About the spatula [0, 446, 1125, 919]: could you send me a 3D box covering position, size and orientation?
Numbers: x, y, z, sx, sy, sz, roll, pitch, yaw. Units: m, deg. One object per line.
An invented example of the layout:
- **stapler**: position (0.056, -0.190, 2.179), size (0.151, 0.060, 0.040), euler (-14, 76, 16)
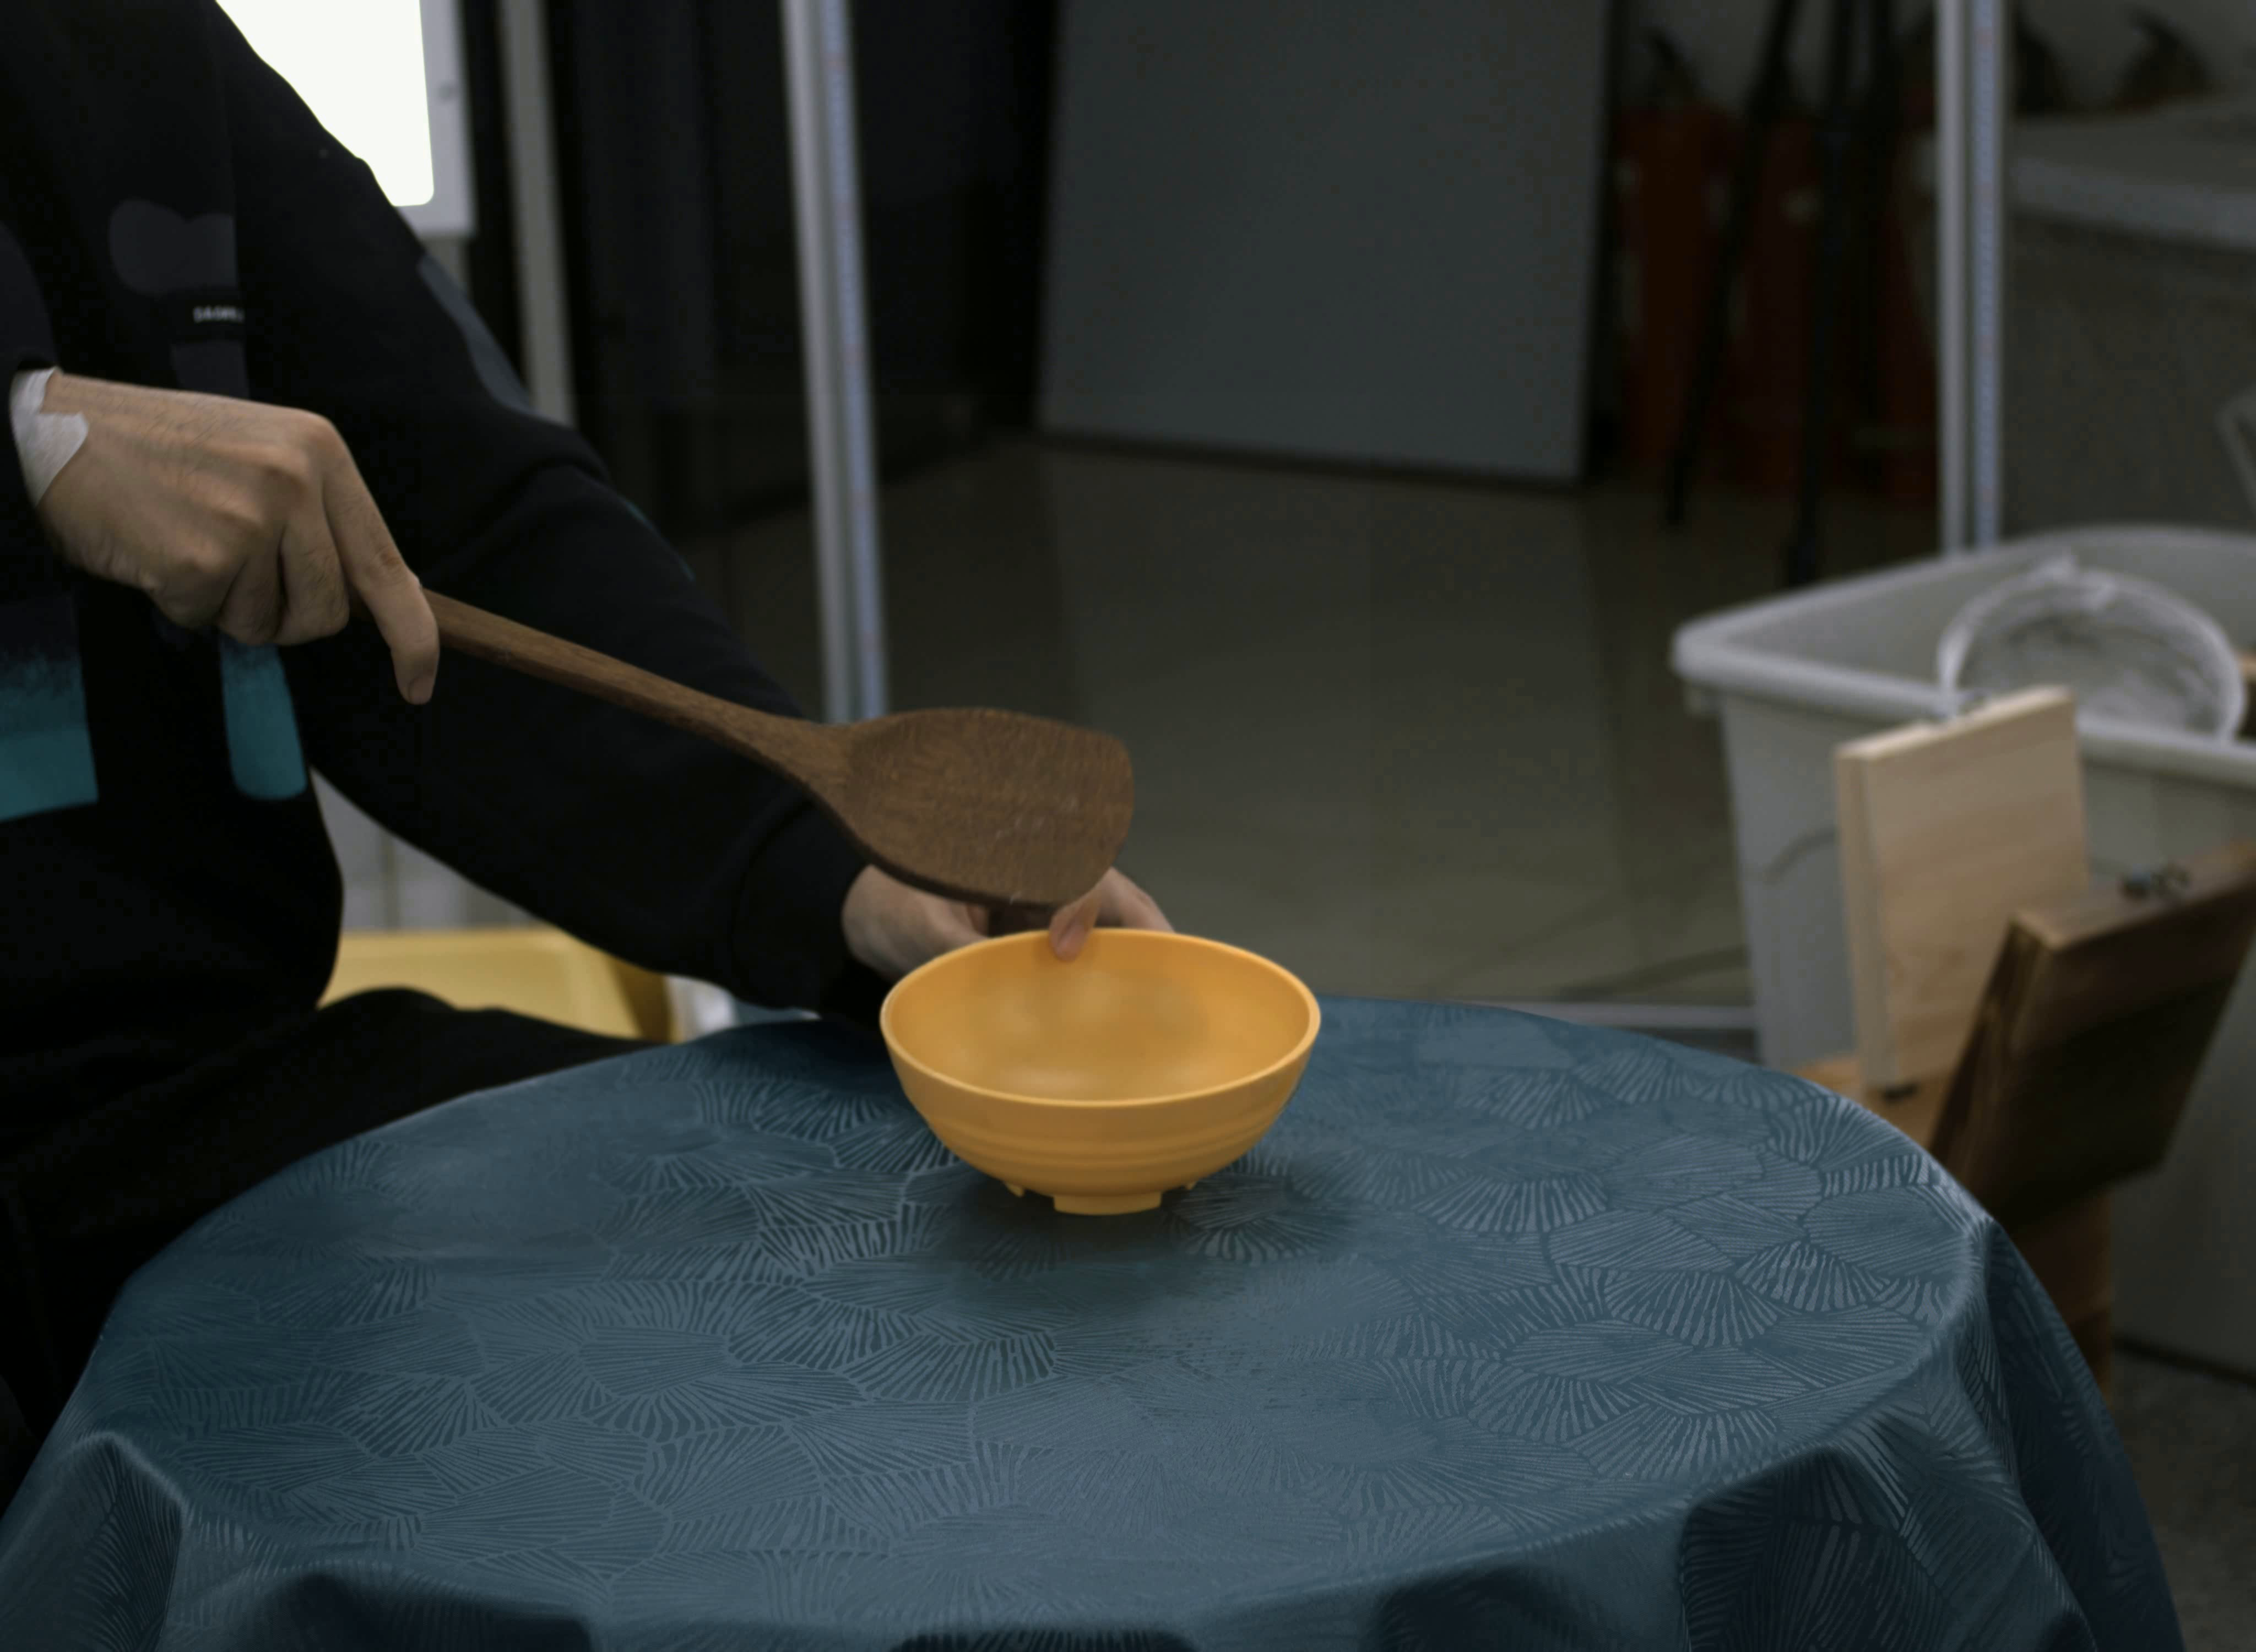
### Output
- **spatula**: position (-0.183, -0.053, 1.736), size (0.383, 0.016, 0.096), euler (20, 40, 4)

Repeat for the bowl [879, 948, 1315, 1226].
- **bowl**: position (-0.010, 0.091, 1.765), size (0.143, 0.061, 0.145), euler (0, 18, -1)
